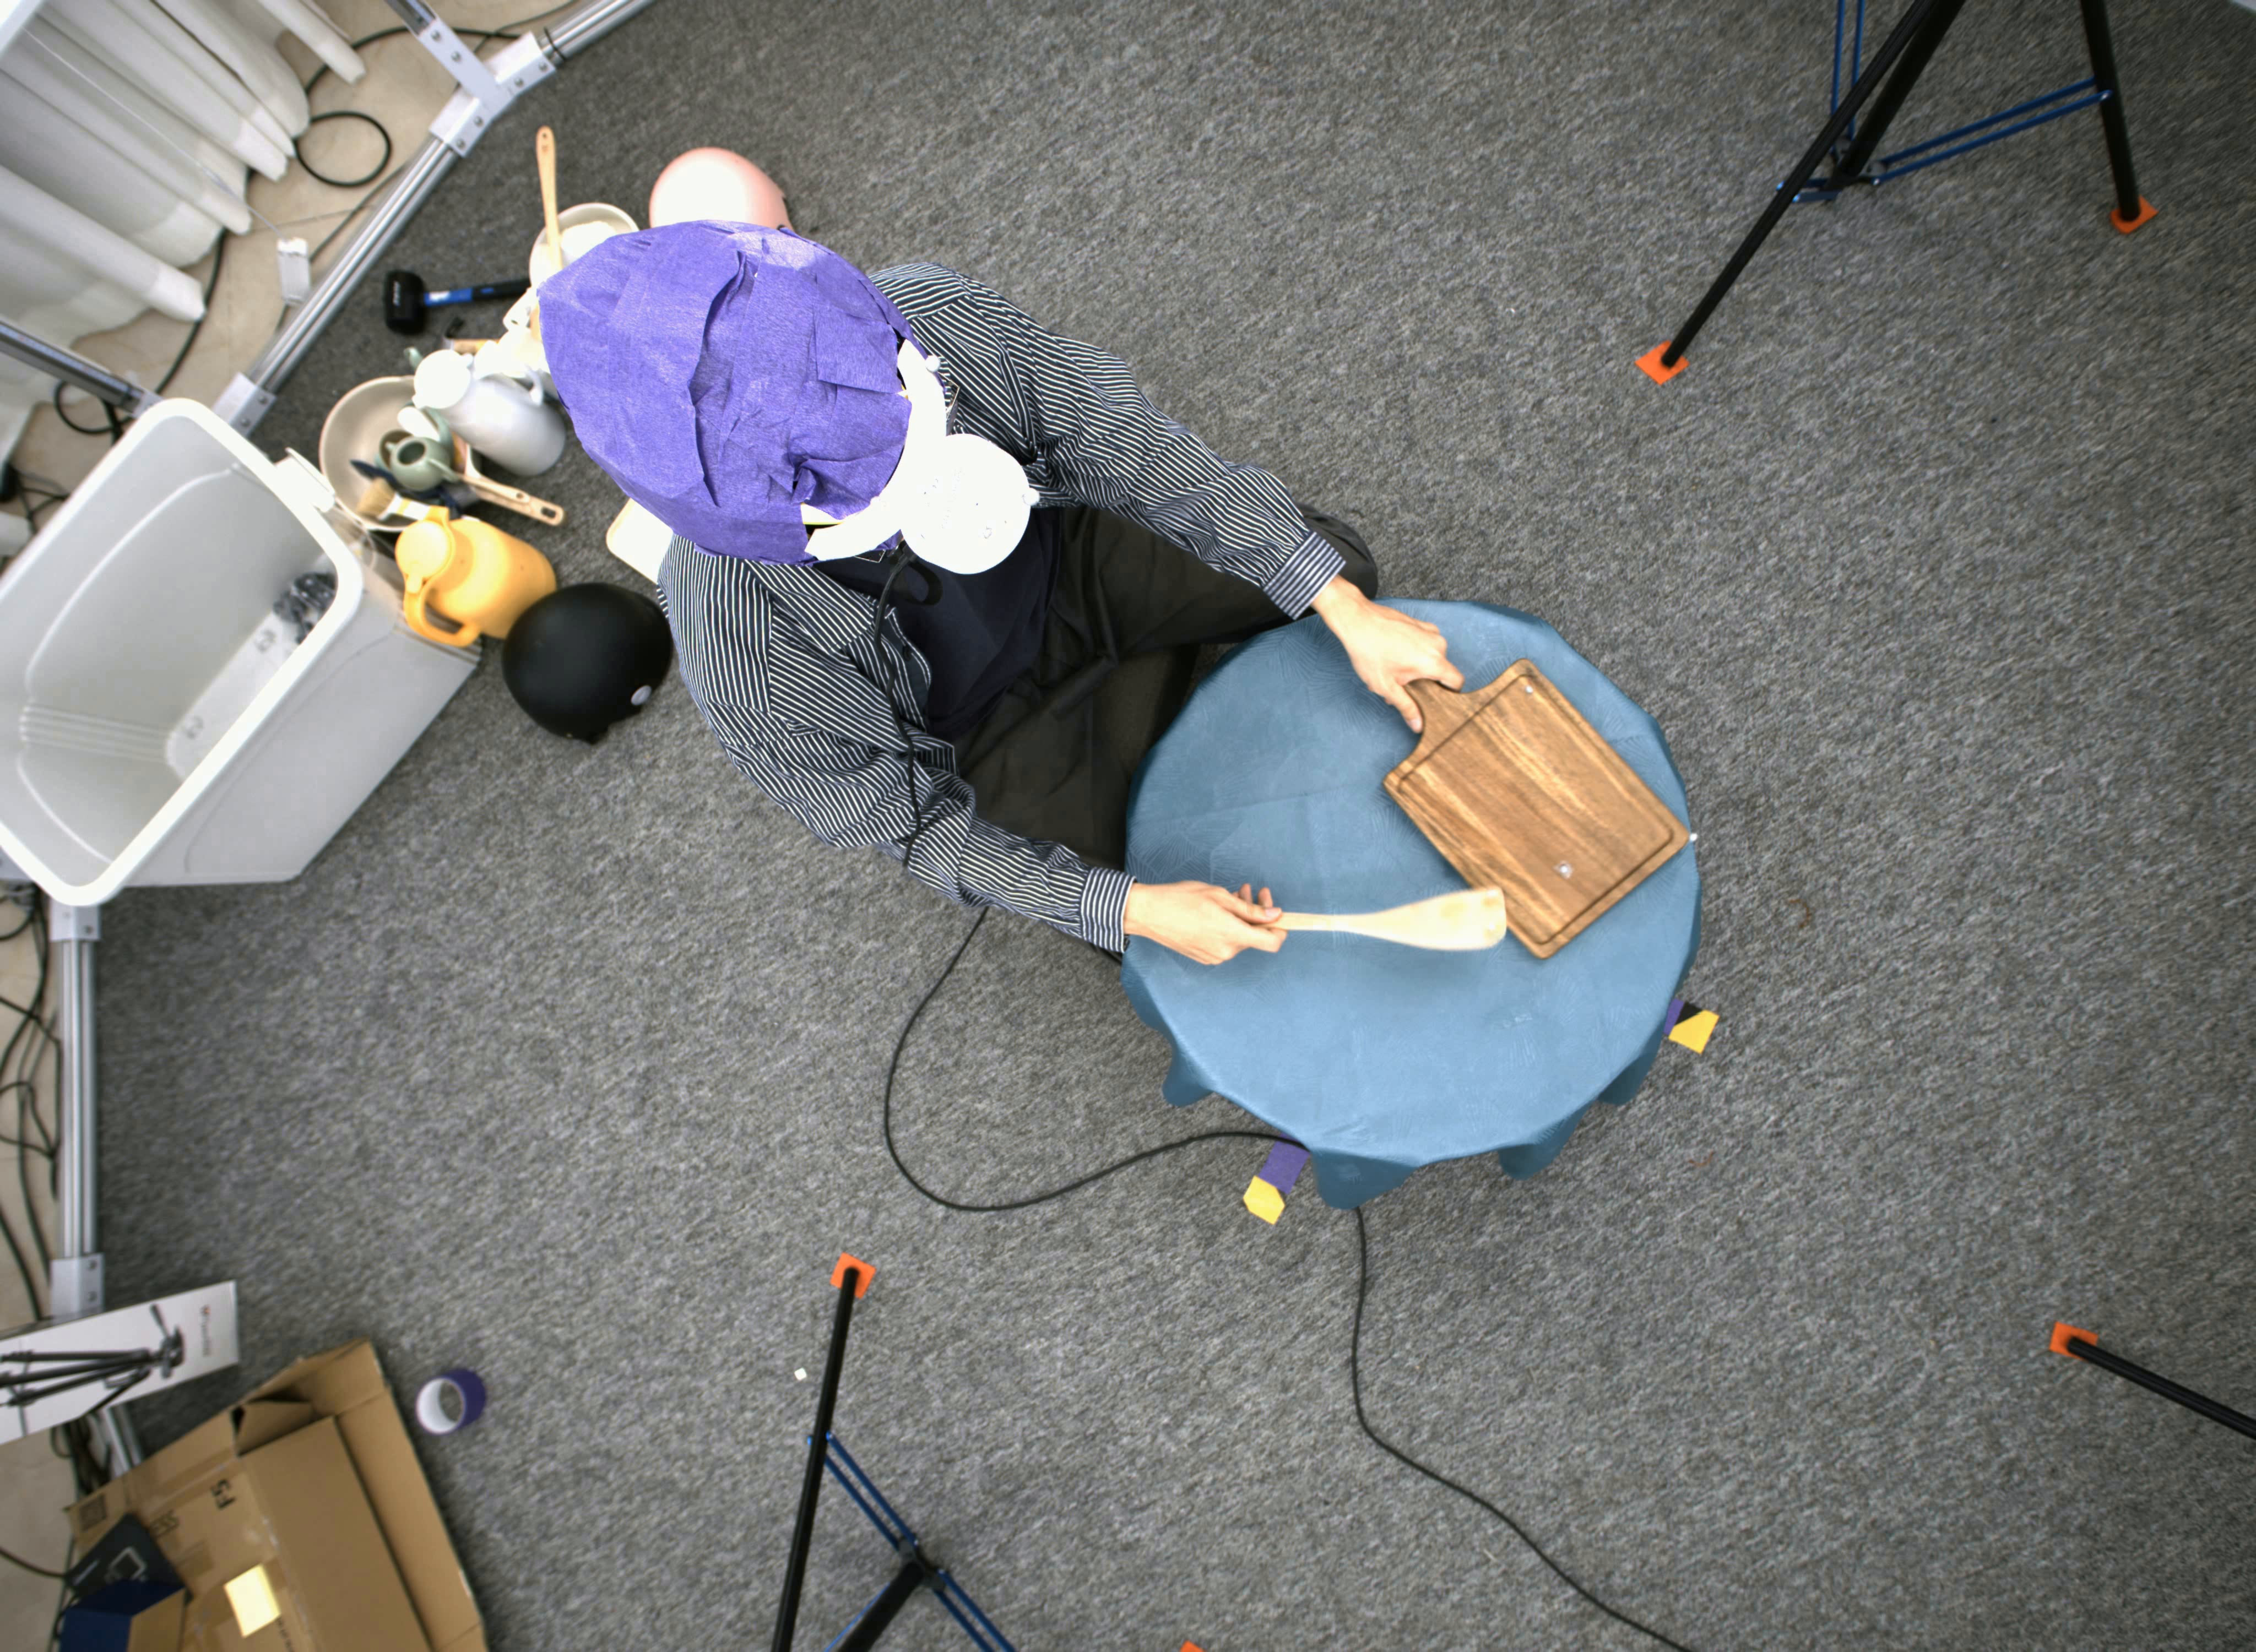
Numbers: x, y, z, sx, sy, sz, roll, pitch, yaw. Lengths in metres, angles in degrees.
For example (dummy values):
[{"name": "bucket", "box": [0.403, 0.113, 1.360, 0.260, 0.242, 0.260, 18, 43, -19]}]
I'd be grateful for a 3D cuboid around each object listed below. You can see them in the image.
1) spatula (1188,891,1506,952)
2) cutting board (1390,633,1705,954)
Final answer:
[{"name": "spatula", "box": [0.212, 0.092, 1.368, 0.330, 0.078, 0.017, -1, 131, 25]}, {"name": "cutting board", "box": [0.392, -0.063, 1.394, 0.203, 0.023, 0.351, -42, 86, 14]}]
